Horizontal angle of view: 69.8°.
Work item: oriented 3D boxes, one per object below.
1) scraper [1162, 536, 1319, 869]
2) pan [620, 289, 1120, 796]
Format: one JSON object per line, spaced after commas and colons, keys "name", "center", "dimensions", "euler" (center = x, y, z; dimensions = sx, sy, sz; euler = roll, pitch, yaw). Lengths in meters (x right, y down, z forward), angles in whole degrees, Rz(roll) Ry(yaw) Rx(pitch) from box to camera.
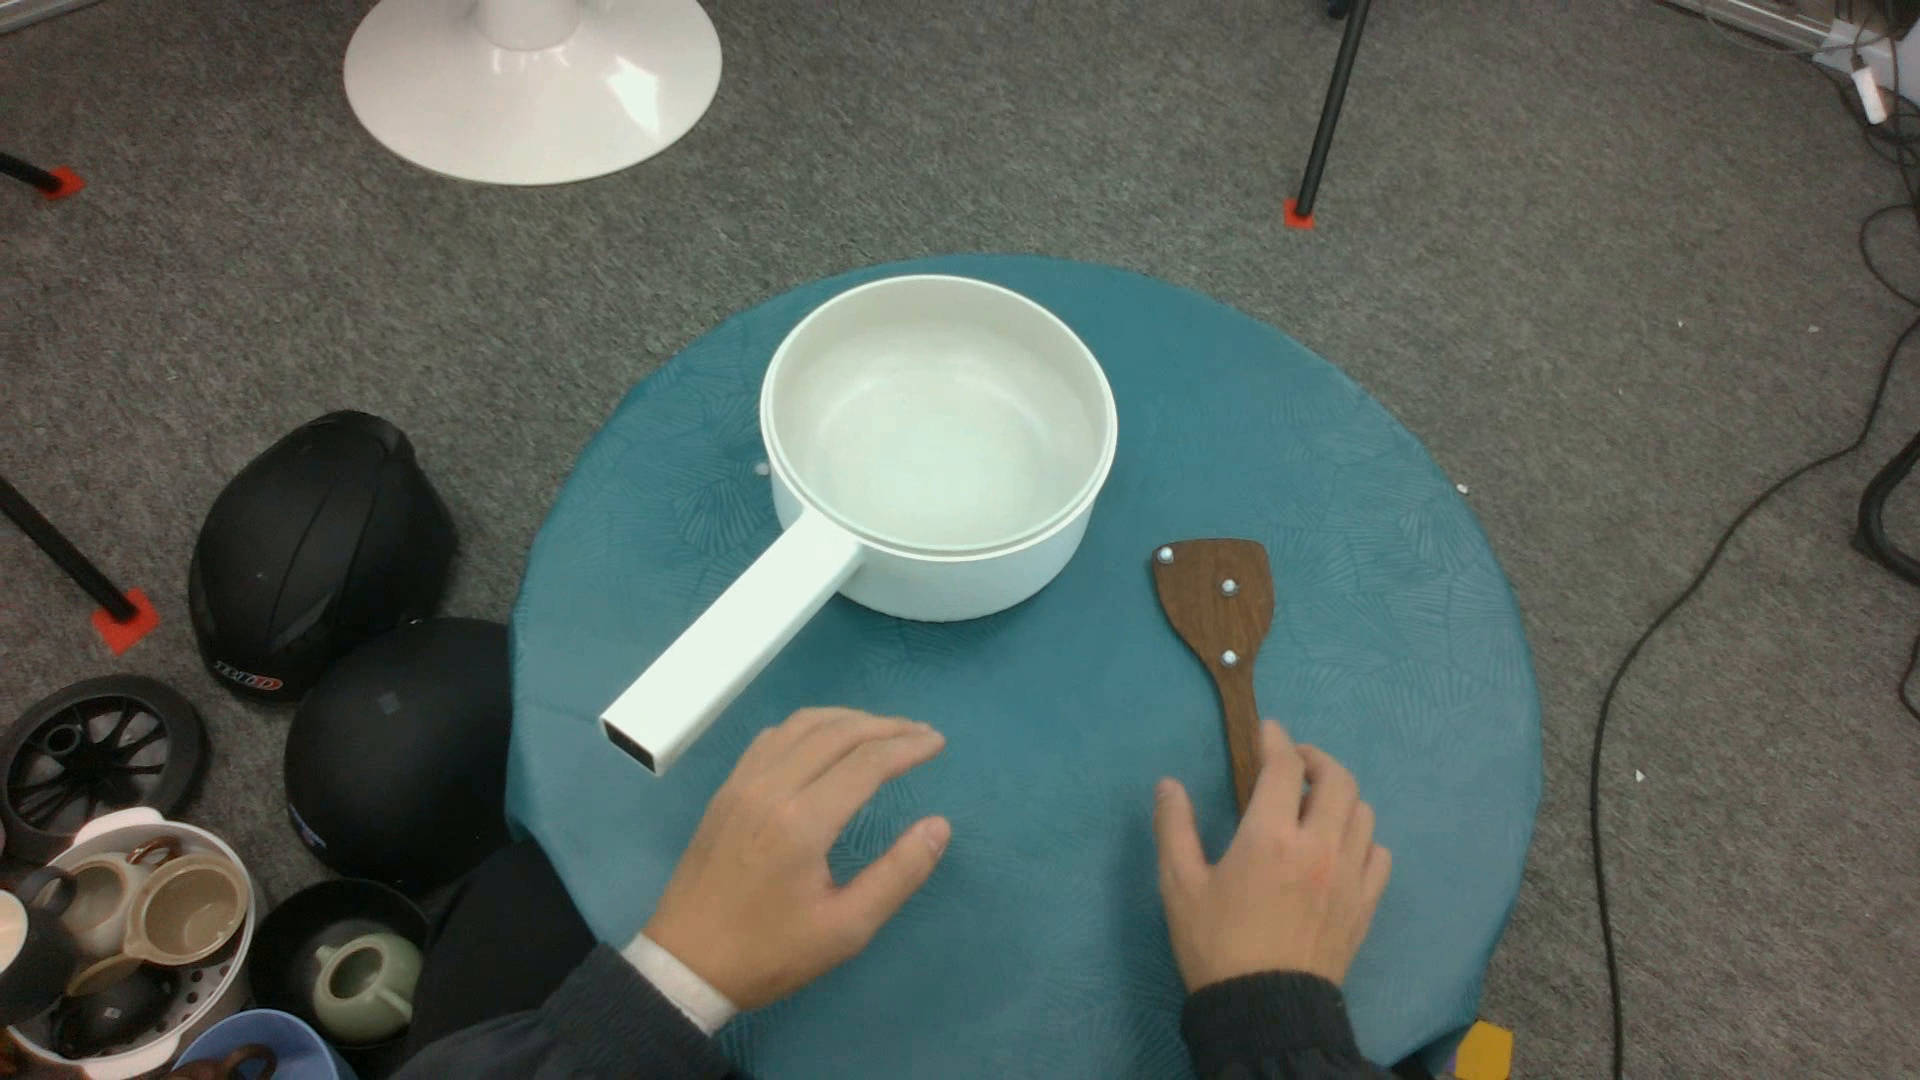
{"name": "scraper", "center": [0.171, 0.089, 0.802], "dimensions": [0.076, 0.011, 0.212], "euler": [-4, 57, -5]}
{"name": "pan", "center": [-0.053, 0.010, 0.788], "dimensions": [0.201, 0.101, 0.356], "euler": [30, 61, 16]}
